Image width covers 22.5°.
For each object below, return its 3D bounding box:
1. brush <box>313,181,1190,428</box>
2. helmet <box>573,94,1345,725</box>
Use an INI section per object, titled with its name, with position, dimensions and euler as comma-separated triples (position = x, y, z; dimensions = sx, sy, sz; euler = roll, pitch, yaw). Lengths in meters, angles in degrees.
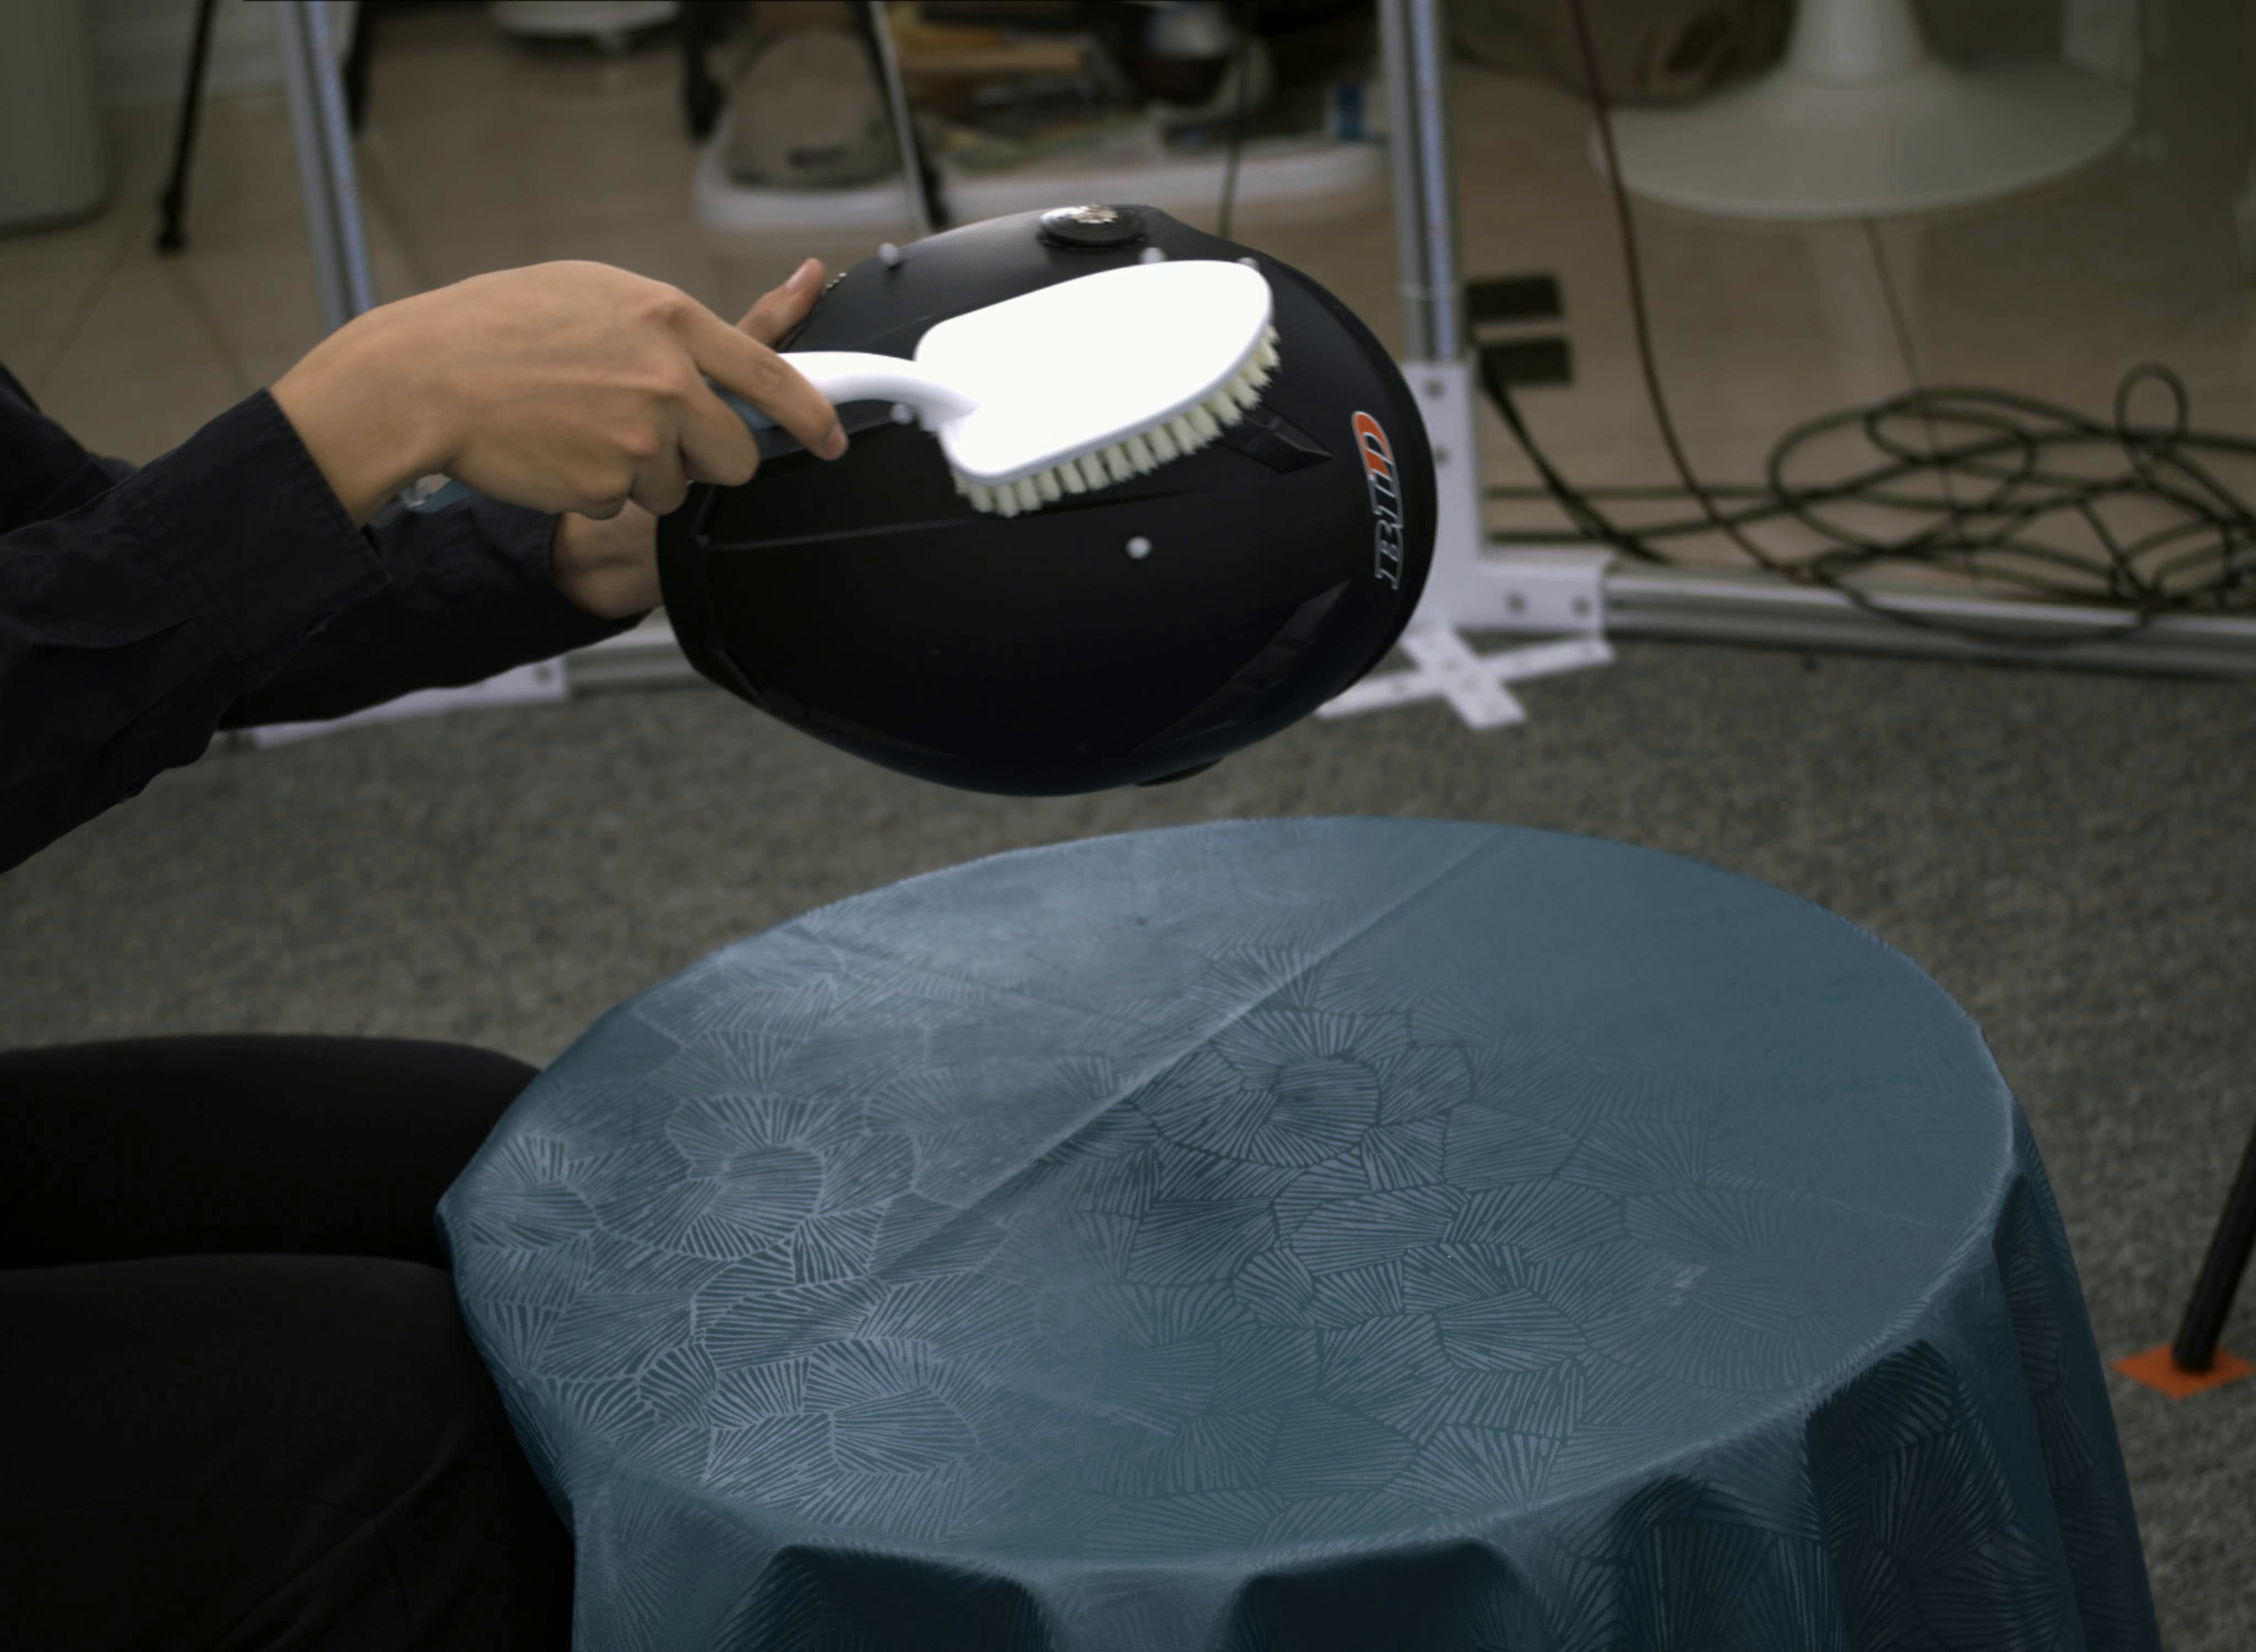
[brush]
position = -0.134, -0.174, 2.023
dimensions = 0.324, 0.086, 0.082
euler = -13, 30, -14
[helmet]
position = -0.067, -0.144, 2.149
dimensions = 0.276, 0.250, 0.170
euler = 0, 25, 18
